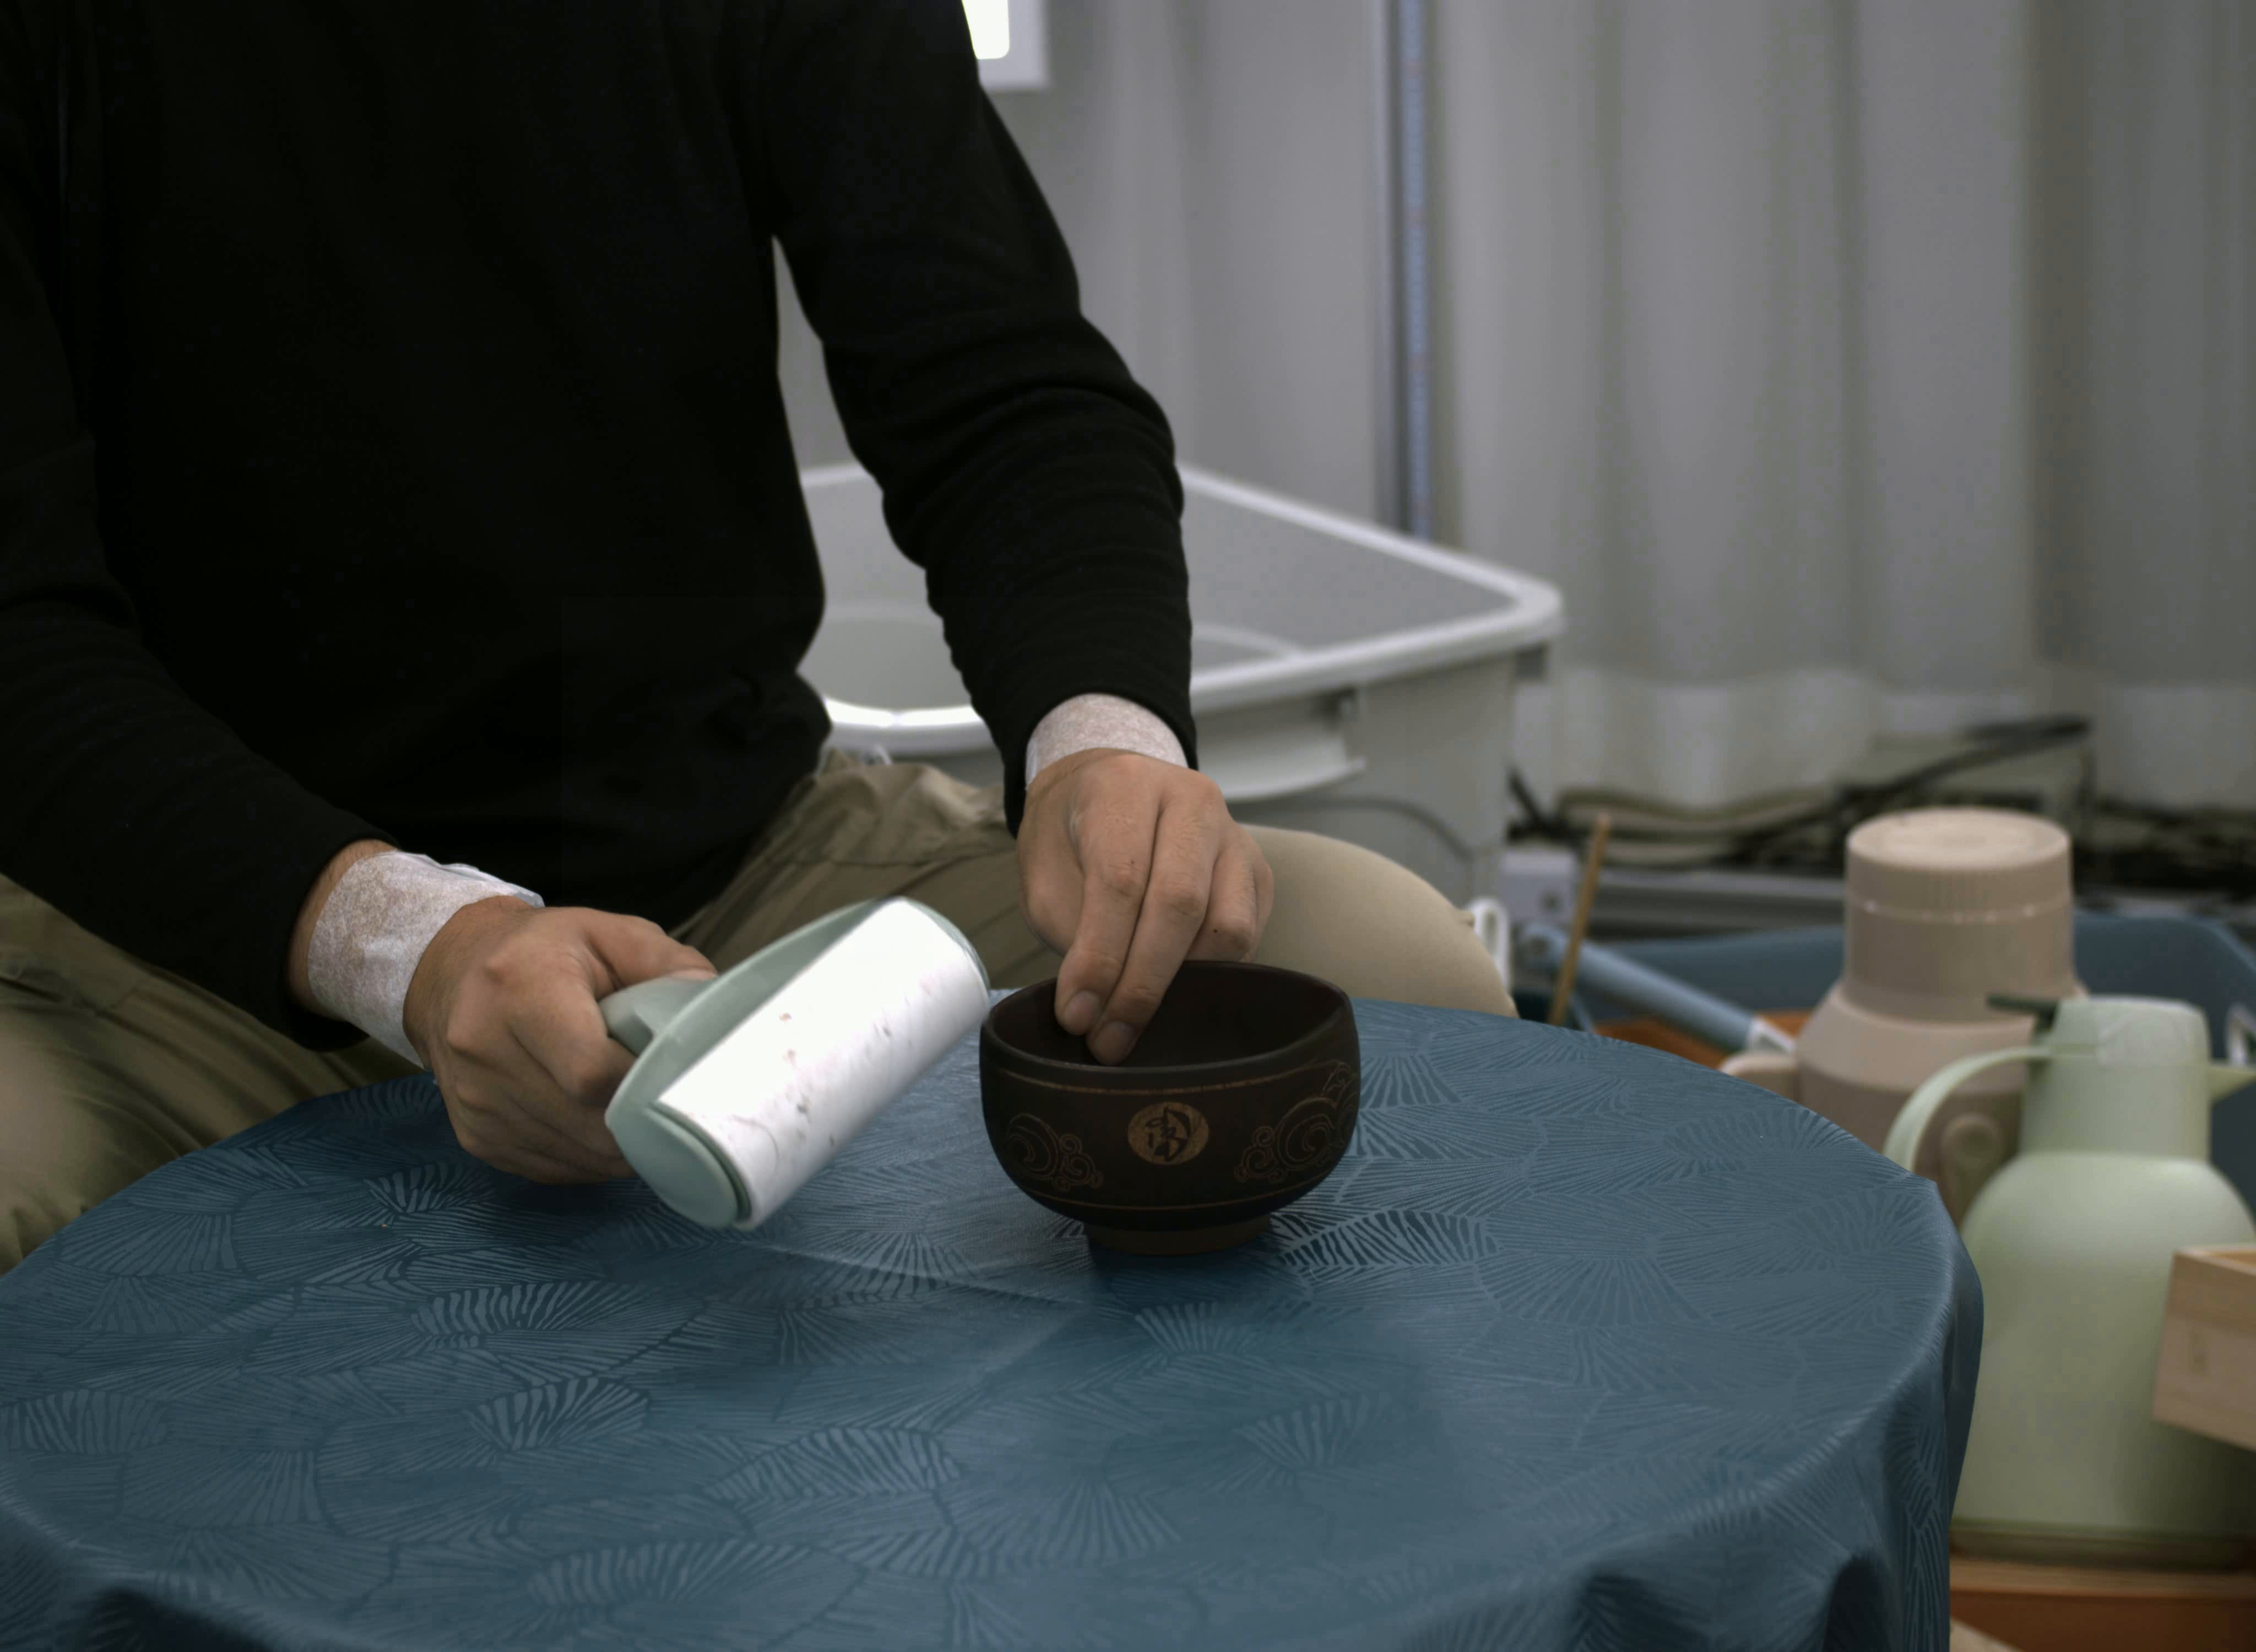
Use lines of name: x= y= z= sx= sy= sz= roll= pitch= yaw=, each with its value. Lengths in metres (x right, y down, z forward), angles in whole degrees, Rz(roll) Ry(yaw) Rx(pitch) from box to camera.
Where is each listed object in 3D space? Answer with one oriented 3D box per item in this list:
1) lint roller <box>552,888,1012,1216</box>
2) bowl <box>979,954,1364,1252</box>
lint roller: x=-0.126 y=0.067 z=1.673 sx=0.117 sy=0.048 sz=0.198 roll=-42 pitch=23 yaw=-28
bowl: x=0.014 y=0.088 z=1.670 sx=0.117 sy=0.069 sz=0.119 roll=-4 pitch=14 yaw=1
